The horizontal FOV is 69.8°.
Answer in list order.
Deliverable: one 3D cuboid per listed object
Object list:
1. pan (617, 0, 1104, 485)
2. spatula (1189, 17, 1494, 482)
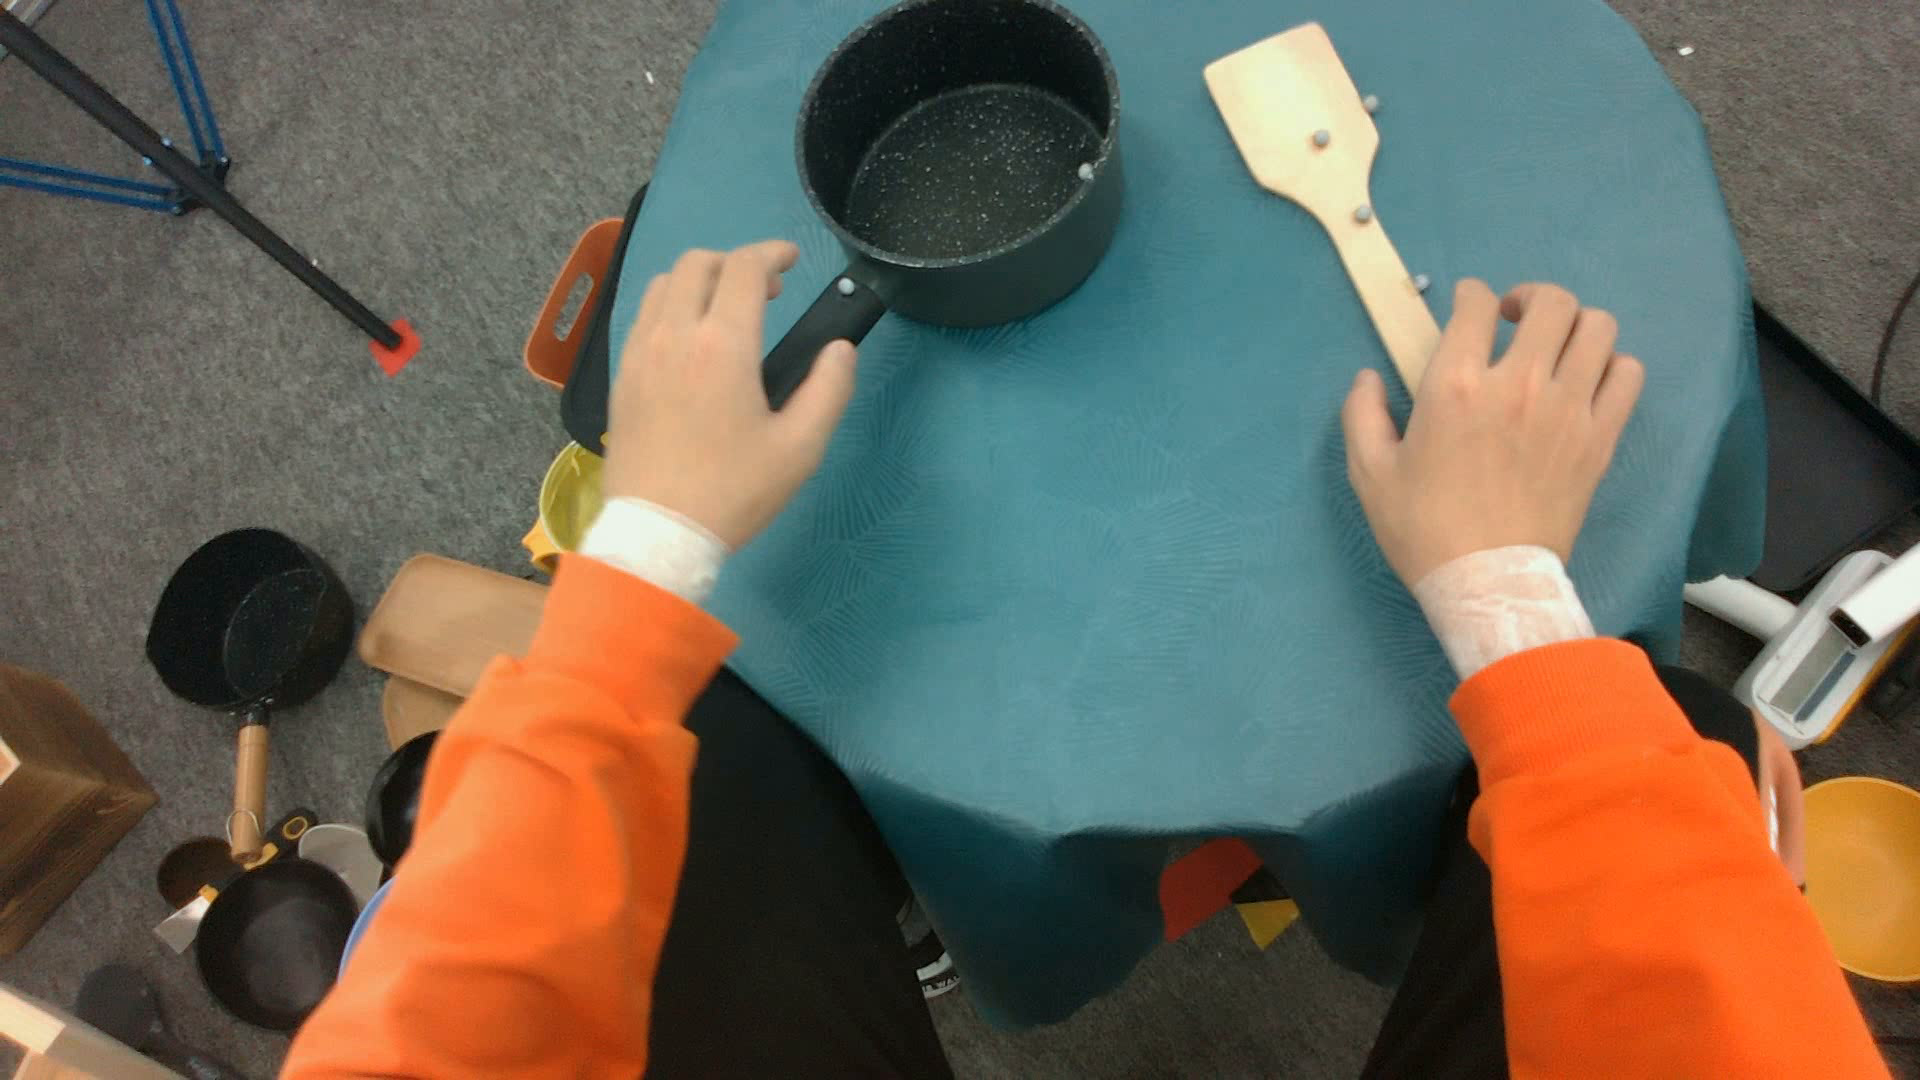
[{"bbox_3d":[-0.051,-0.151,0.721,0.172,0.086,0.329,31,77,21],"label":"pan"},{"bbox_3d":[0.202,-0.156,0.712,0.072,0.010,0.294,-18,66,0],"label":"spatula"}]
